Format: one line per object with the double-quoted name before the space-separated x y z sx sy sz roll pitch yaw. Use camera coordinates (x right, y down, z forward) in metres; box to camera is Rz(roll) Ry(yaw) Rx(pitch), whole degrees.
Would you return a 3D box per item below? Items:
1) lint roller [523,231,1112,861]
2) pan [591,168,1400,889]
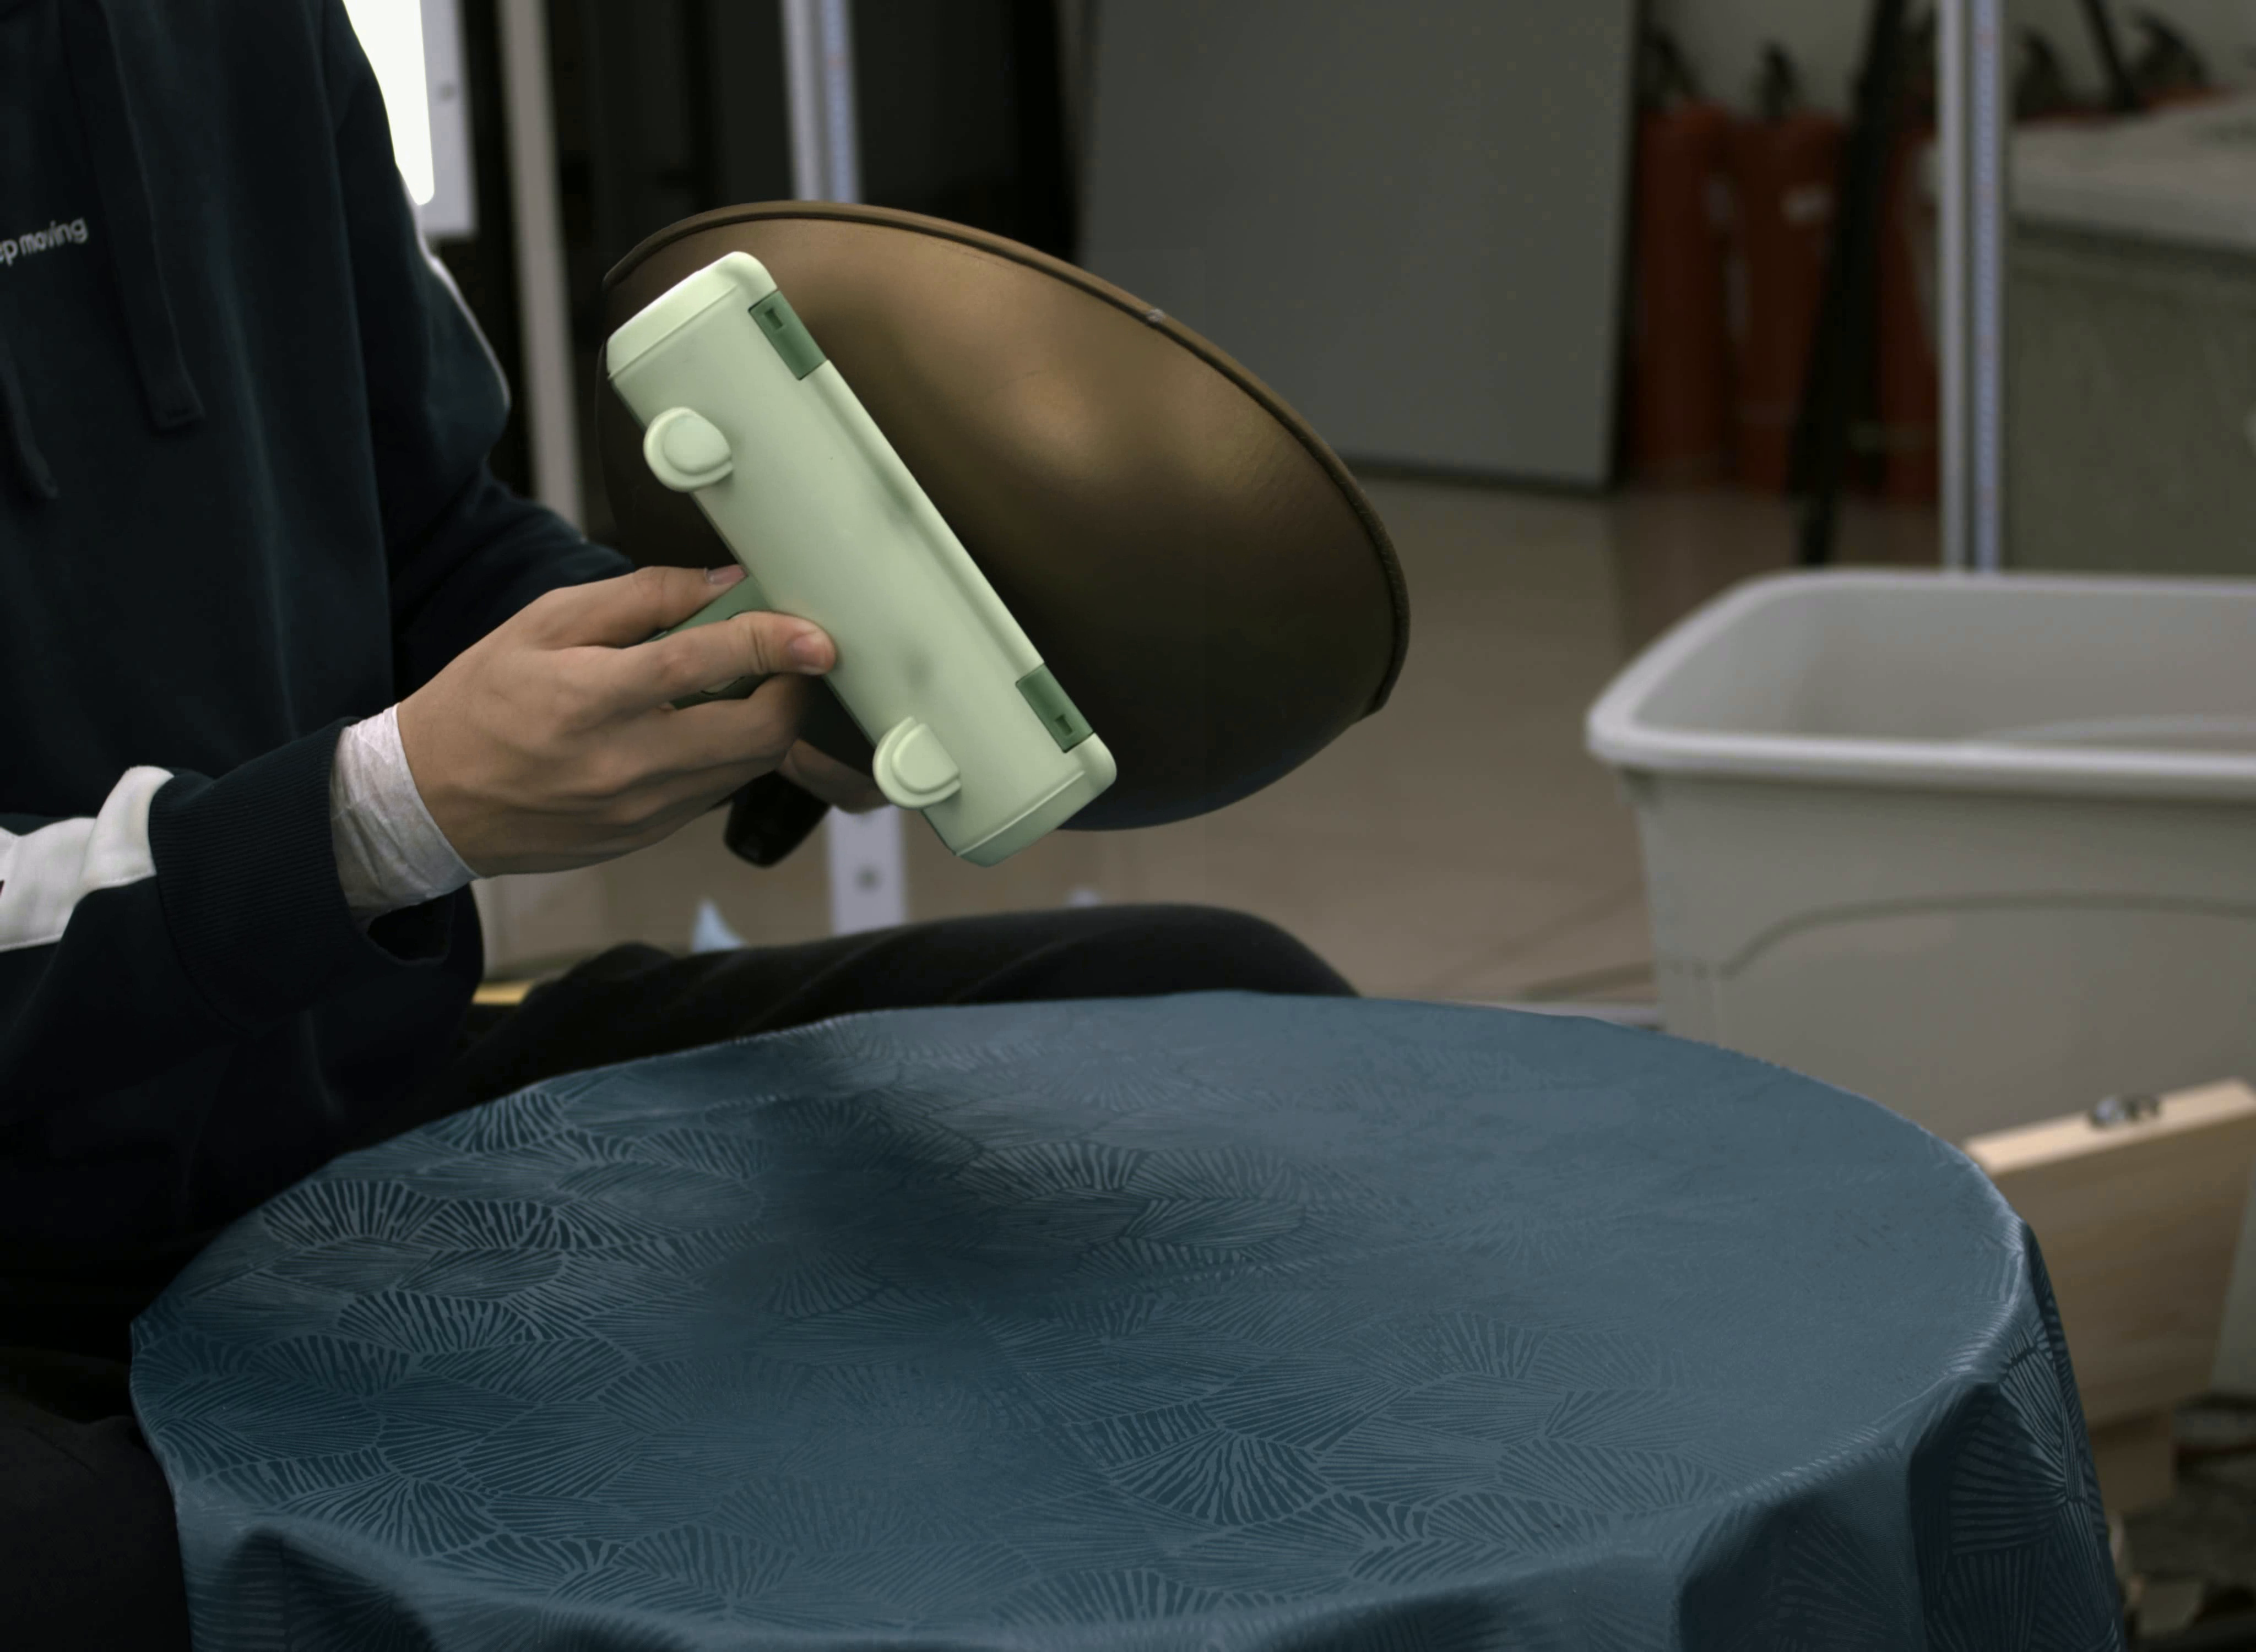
"lint roller" -0.126 -0.051 1.623 0.184 0.199 0.081 -34 5 26
"pan" -0.084 -0.048 1.795 0.285 0.087 0.467 30 -28 -5
